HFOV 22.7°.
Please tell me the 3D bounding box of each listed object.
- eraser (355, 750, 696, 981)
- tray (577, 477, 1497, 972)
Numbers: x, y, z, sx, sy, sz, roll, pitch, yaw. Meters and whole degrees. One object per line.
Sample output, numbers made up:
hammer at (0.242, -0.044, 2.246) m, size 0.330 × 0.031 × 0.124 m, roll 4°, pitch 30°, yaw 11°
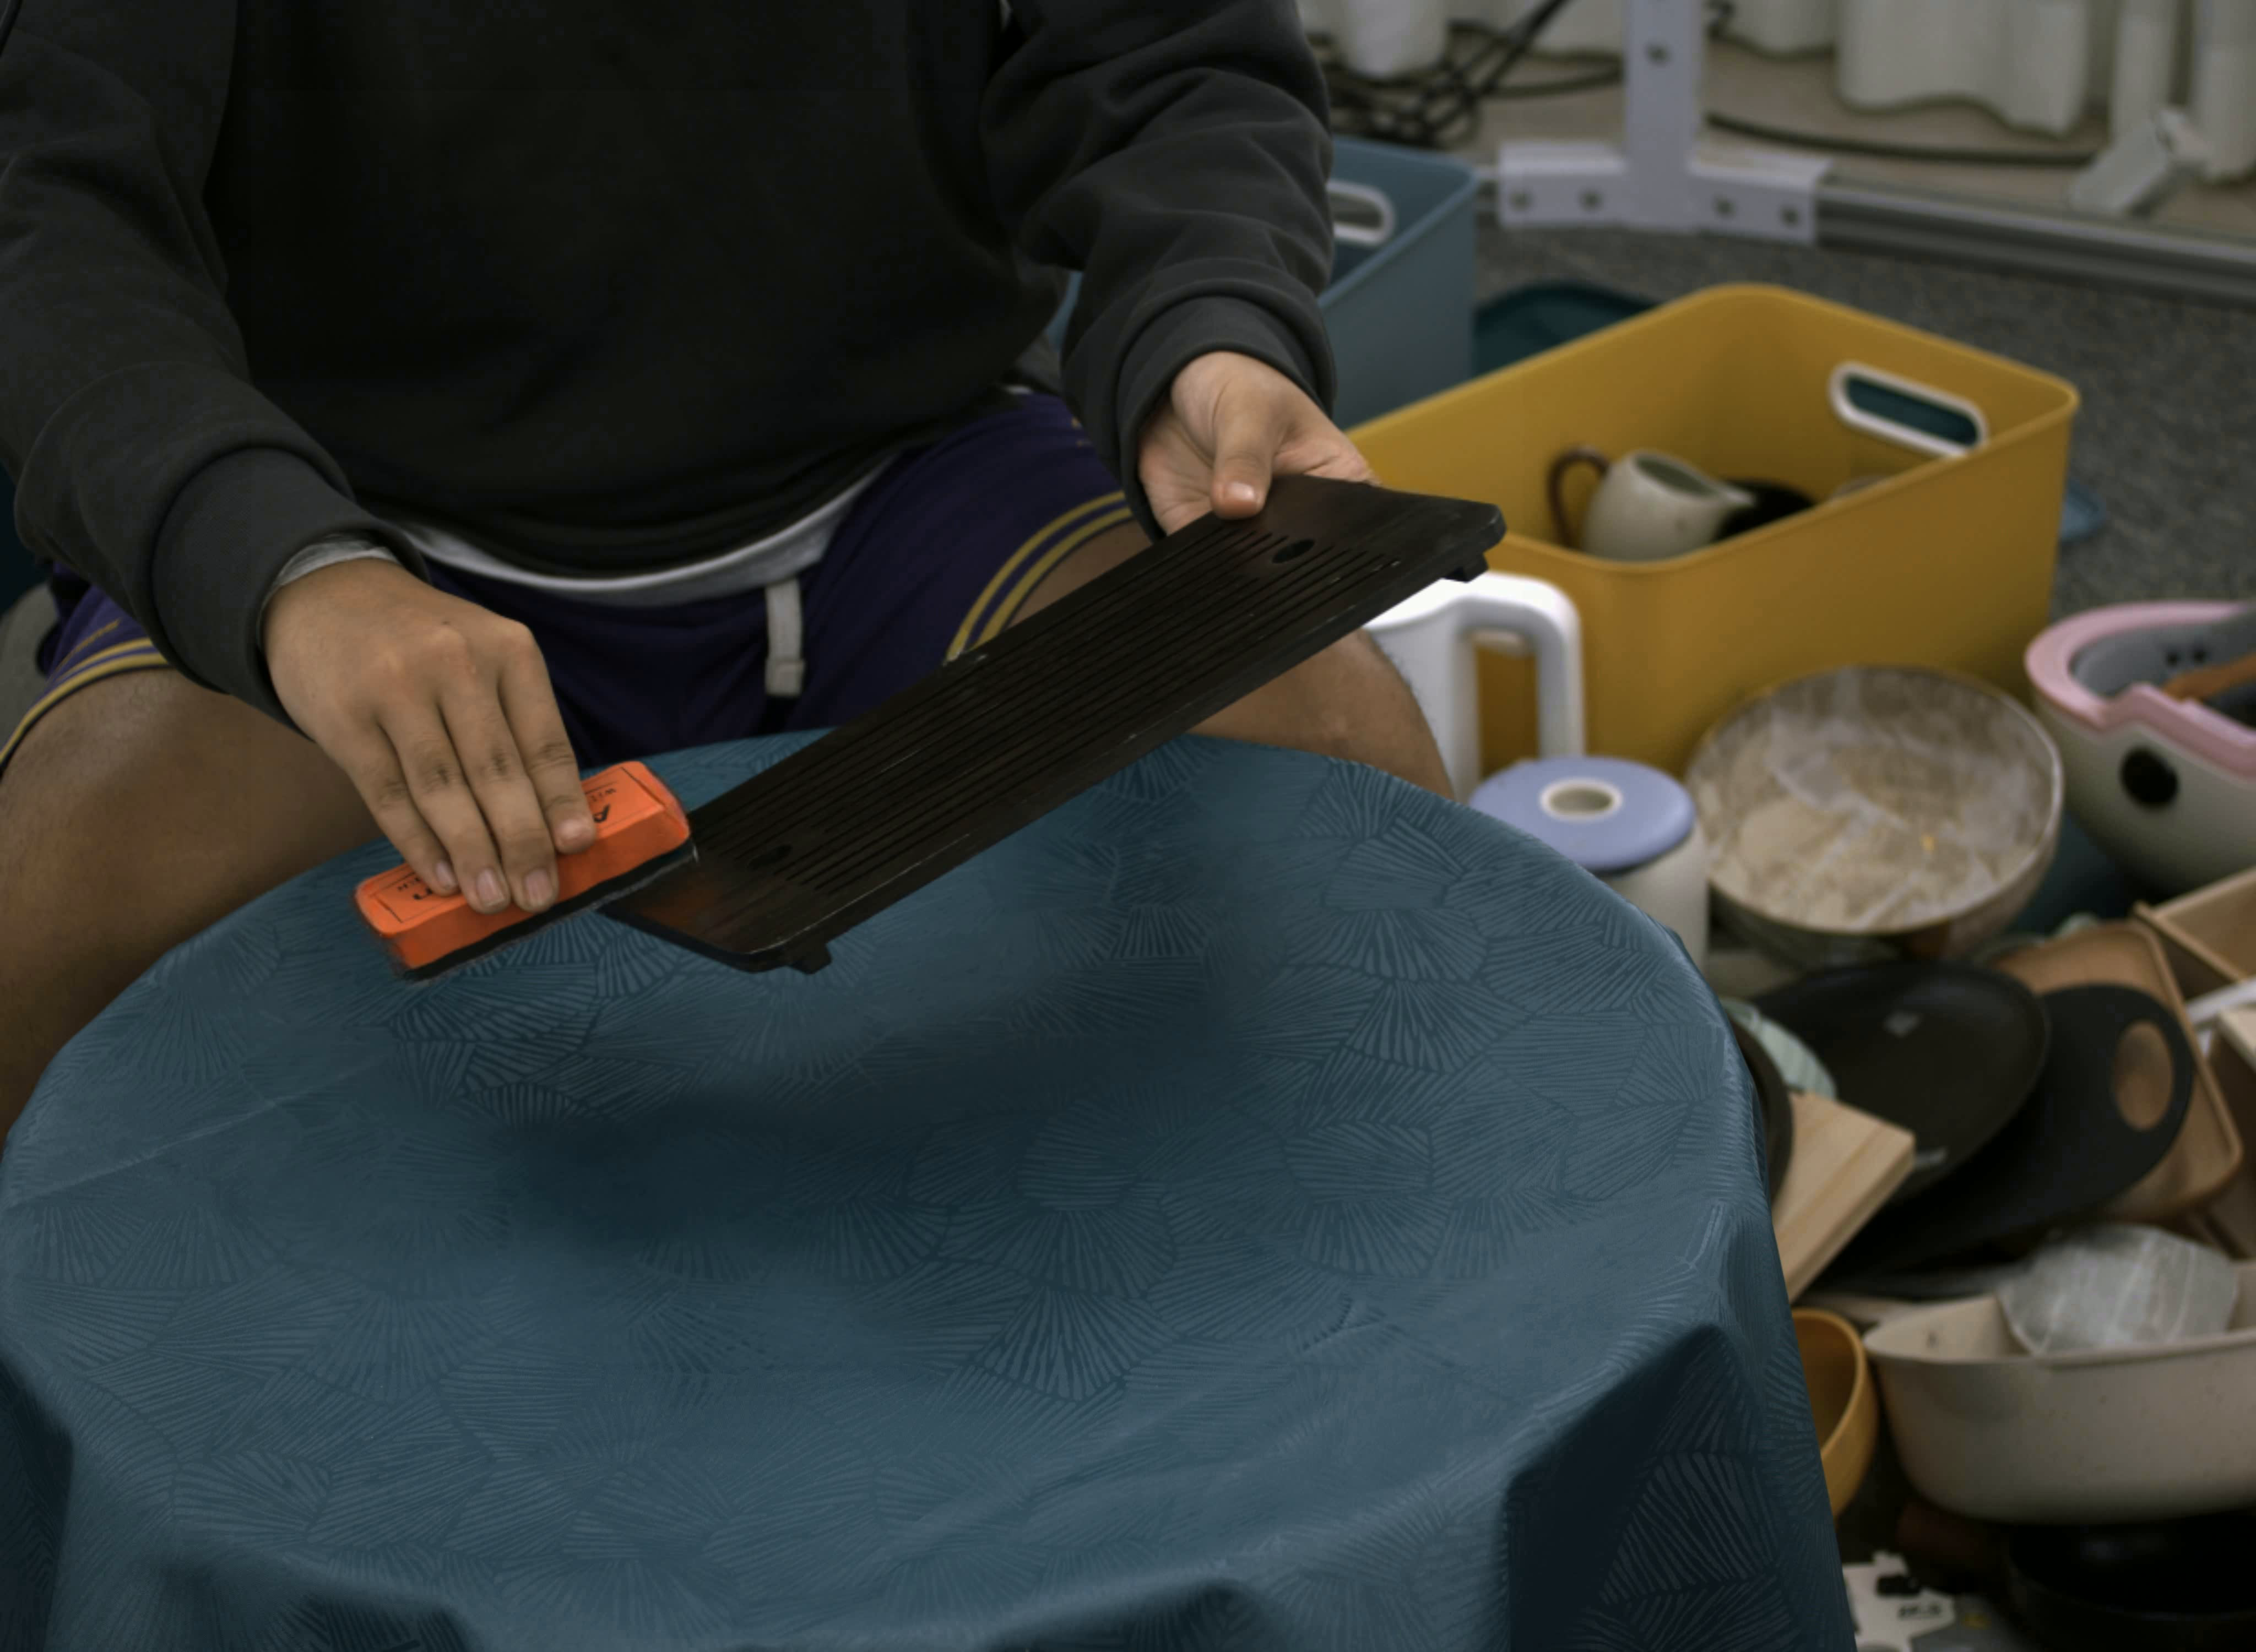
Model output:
eraser at (-0.202, 0.013, 1.879) m, size 0.108 × 0.023 × 0.059 m, roll -27°, pitch 24°, yaw -14°
tray at (-0.031, -0.036, 1.889) m, size 0.308 × 0.018 × 0.169 m, roll -31°, pitch 19°, yaw -21°
